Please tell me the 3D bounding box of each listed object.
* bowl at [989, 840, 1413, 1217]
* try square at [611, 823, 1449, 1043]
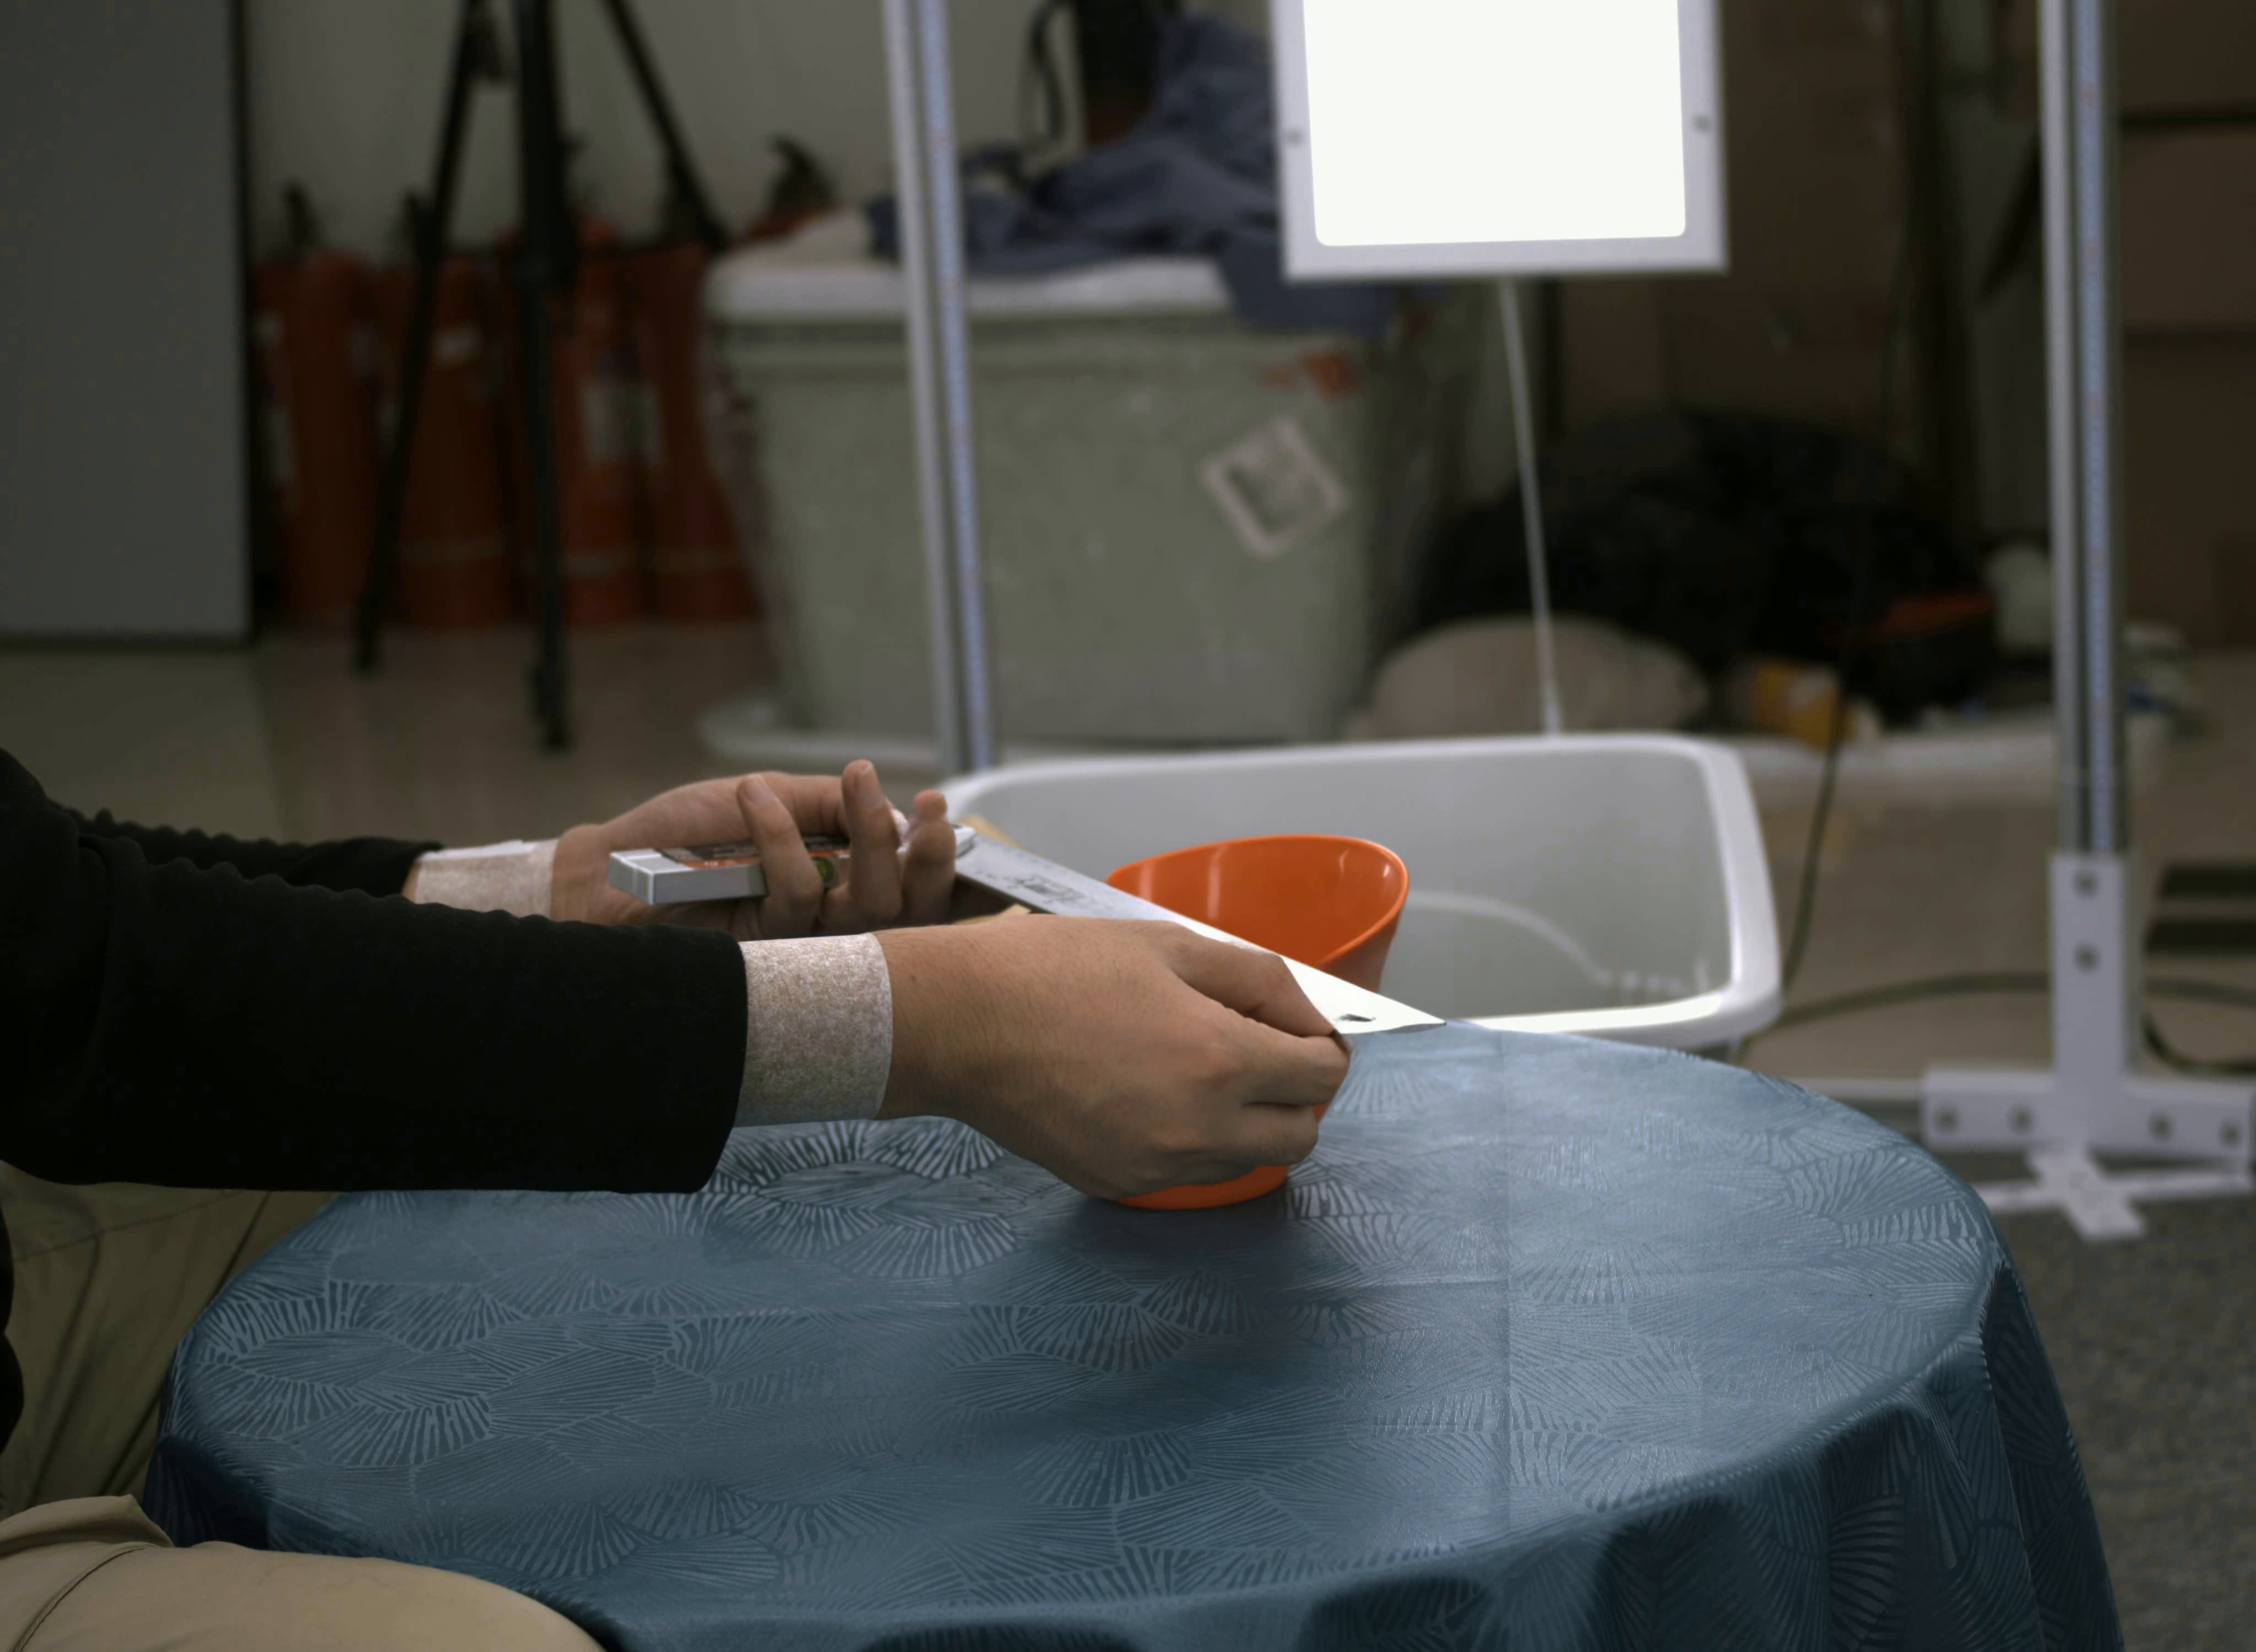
[{"bbox_3d":[0.028,0.073,1.896,0.147,0.105,0.148,-5,15,0],"label":"bowl"},{"bbox_3d":[-0.040,0.041,1.842,0.149,0.016,0.318,-8,15,-28],"label":"try square"}]
